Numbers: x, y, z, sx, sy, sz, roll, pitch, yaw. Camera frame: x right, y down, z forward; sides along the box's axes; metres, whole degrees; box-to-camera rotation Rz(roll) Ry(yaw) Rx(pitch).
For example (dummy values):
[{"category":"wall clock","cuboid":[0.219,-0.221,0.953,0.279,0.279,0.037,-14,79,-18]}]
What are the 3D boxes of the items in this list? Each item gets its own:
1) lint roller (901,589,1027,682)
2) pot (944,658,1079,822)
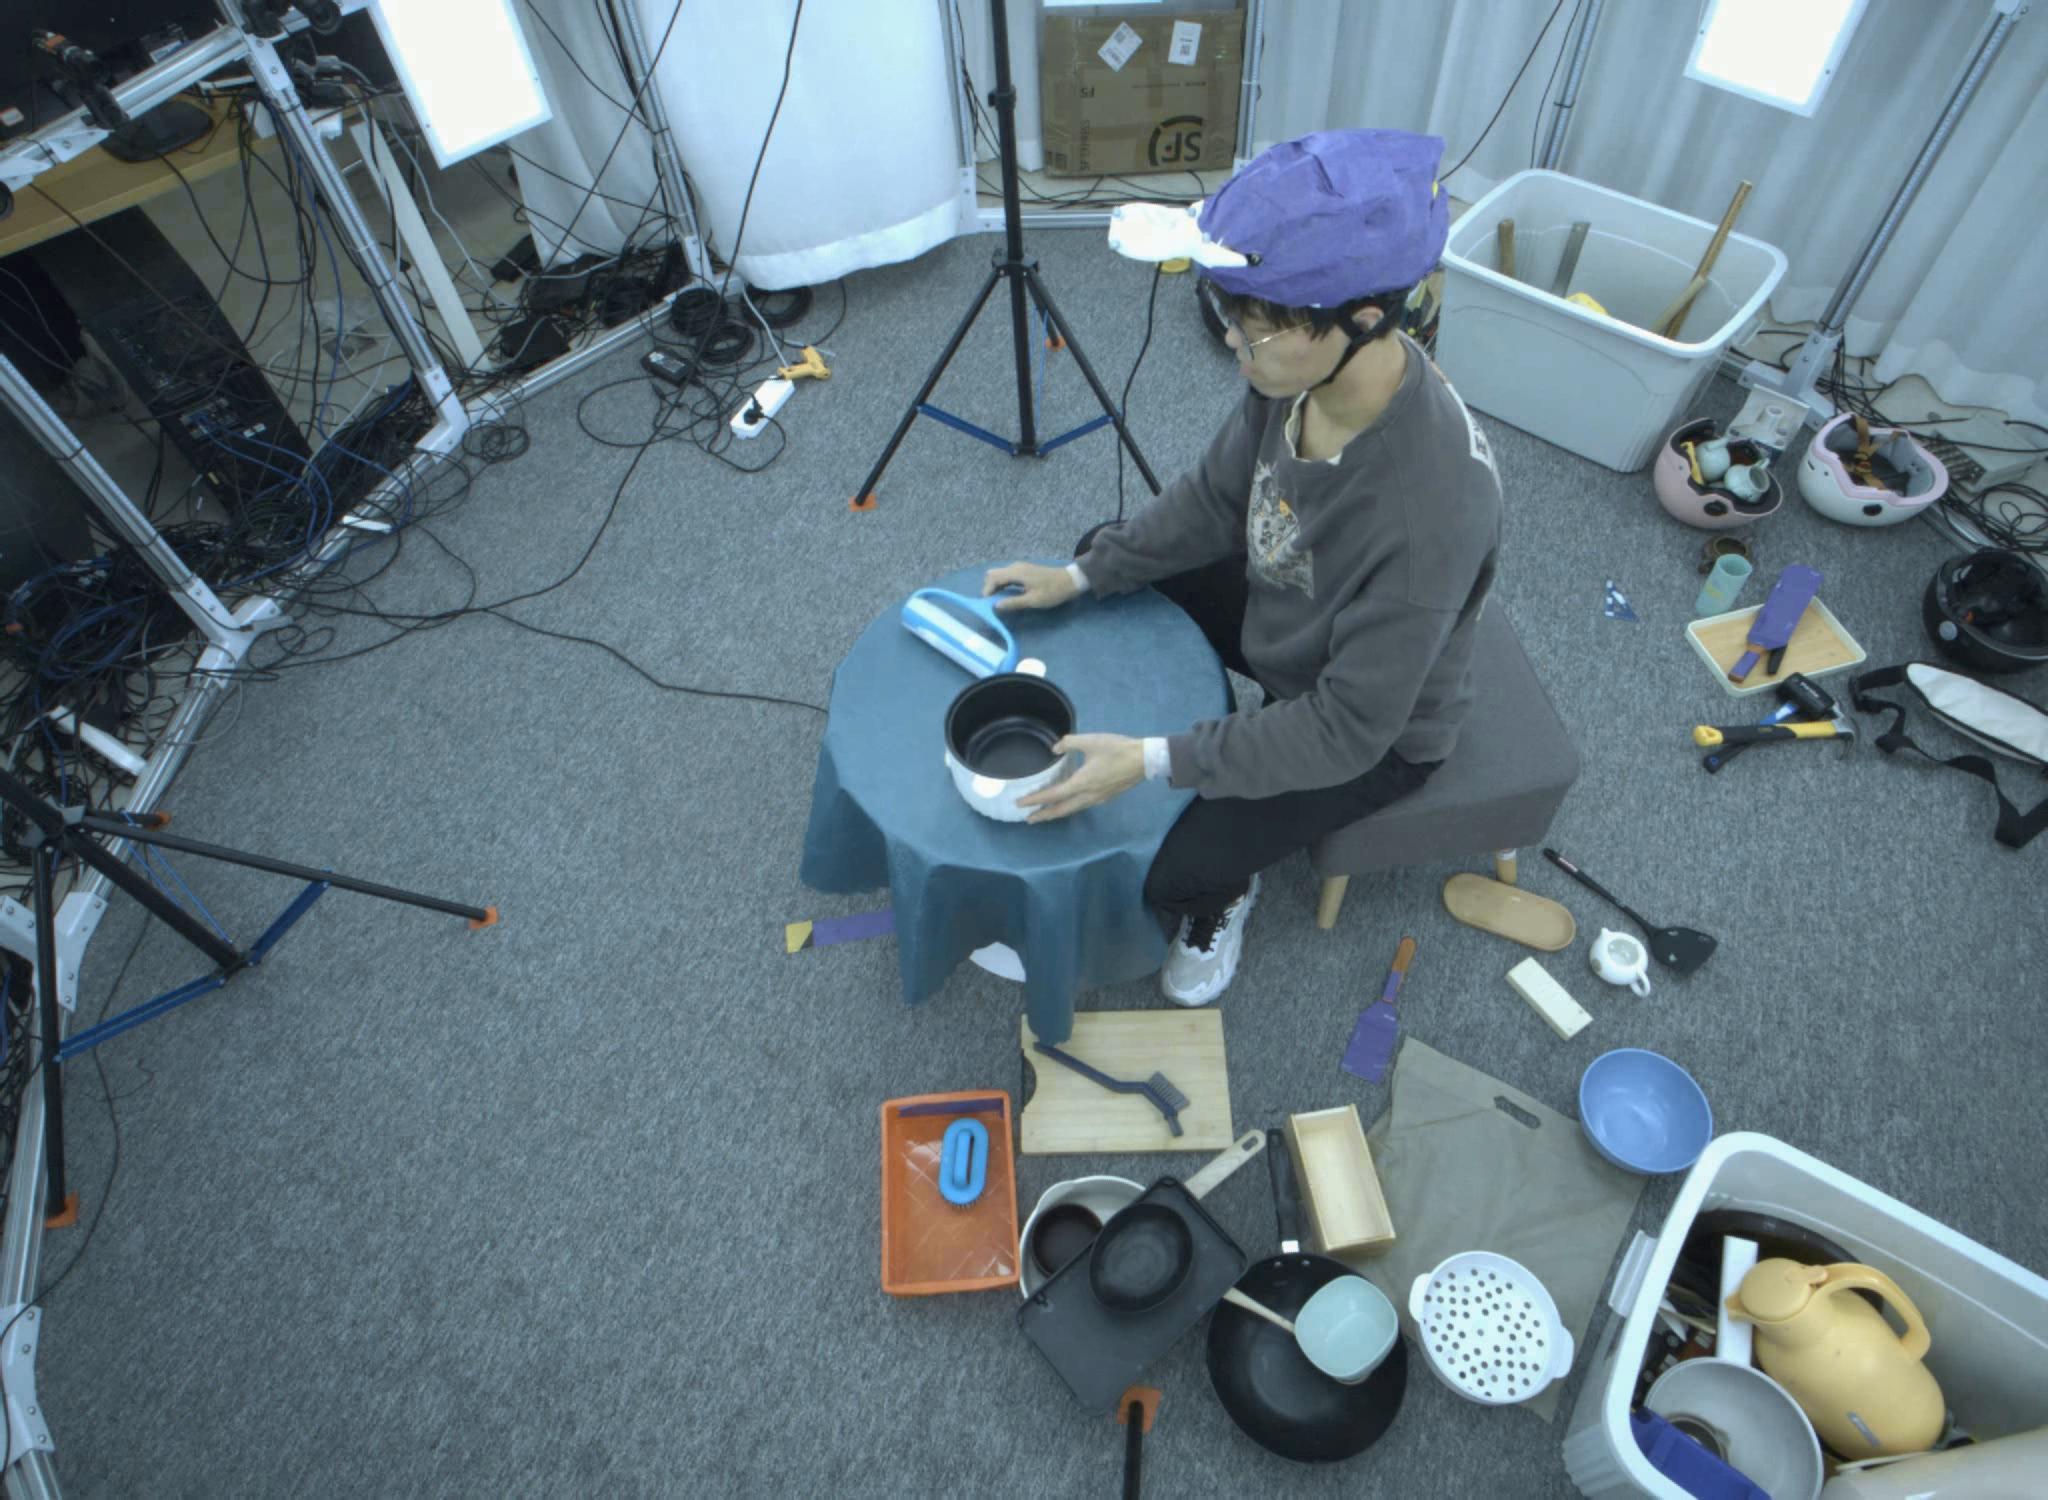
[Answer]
[{"category":"lint roller","cuboid":[-0.065,-0.205,1.897,0.225,0.069,0.181,32,64,24]},{"category":"pot","cuboid":[-0.020,0.003,1.697,0.189,0.144,0.239,13,54,8]}]
